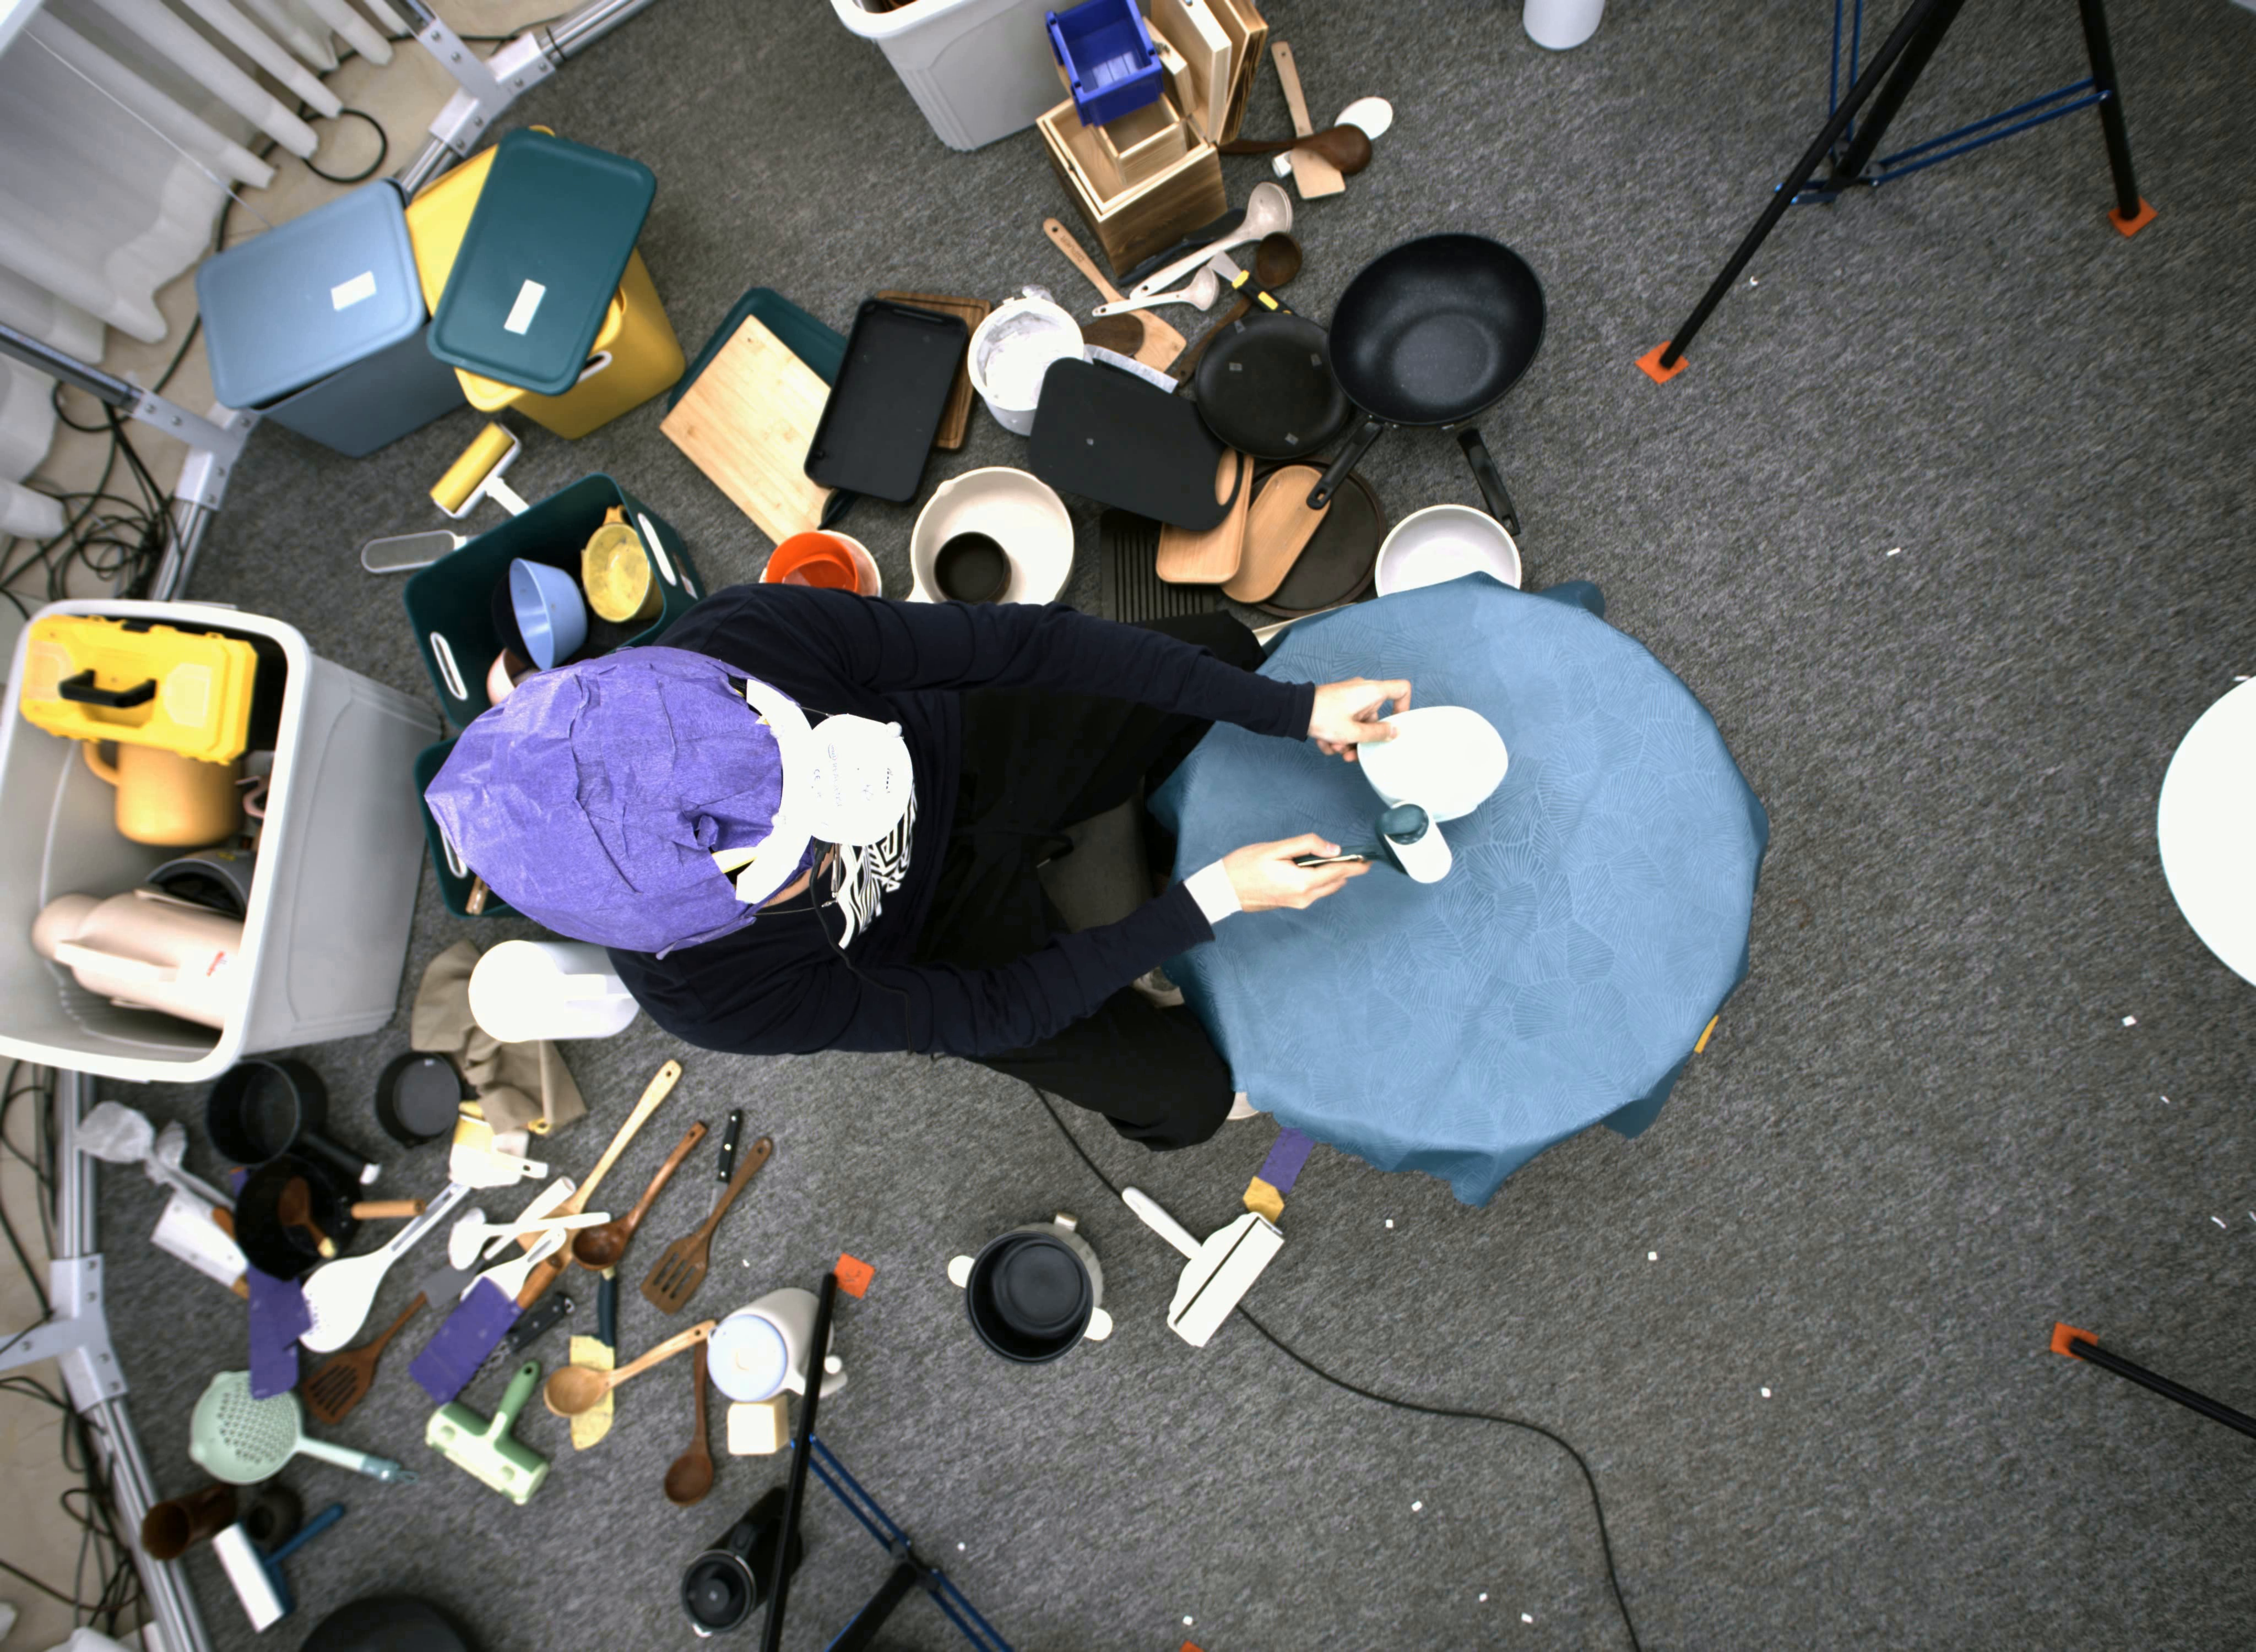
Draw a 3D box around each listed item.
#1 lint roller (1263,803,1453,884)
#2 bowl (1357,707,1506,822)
[{"bbox_3d":[0.220,0.035,1.349,0.182,0.136,0.047,-17,63,18],"label":"lint roller"},{"bbox_3d":[0.298,-0.054,1.361,0.152,0.060,0.147,-4,43,4],"label":"bowl"}]
